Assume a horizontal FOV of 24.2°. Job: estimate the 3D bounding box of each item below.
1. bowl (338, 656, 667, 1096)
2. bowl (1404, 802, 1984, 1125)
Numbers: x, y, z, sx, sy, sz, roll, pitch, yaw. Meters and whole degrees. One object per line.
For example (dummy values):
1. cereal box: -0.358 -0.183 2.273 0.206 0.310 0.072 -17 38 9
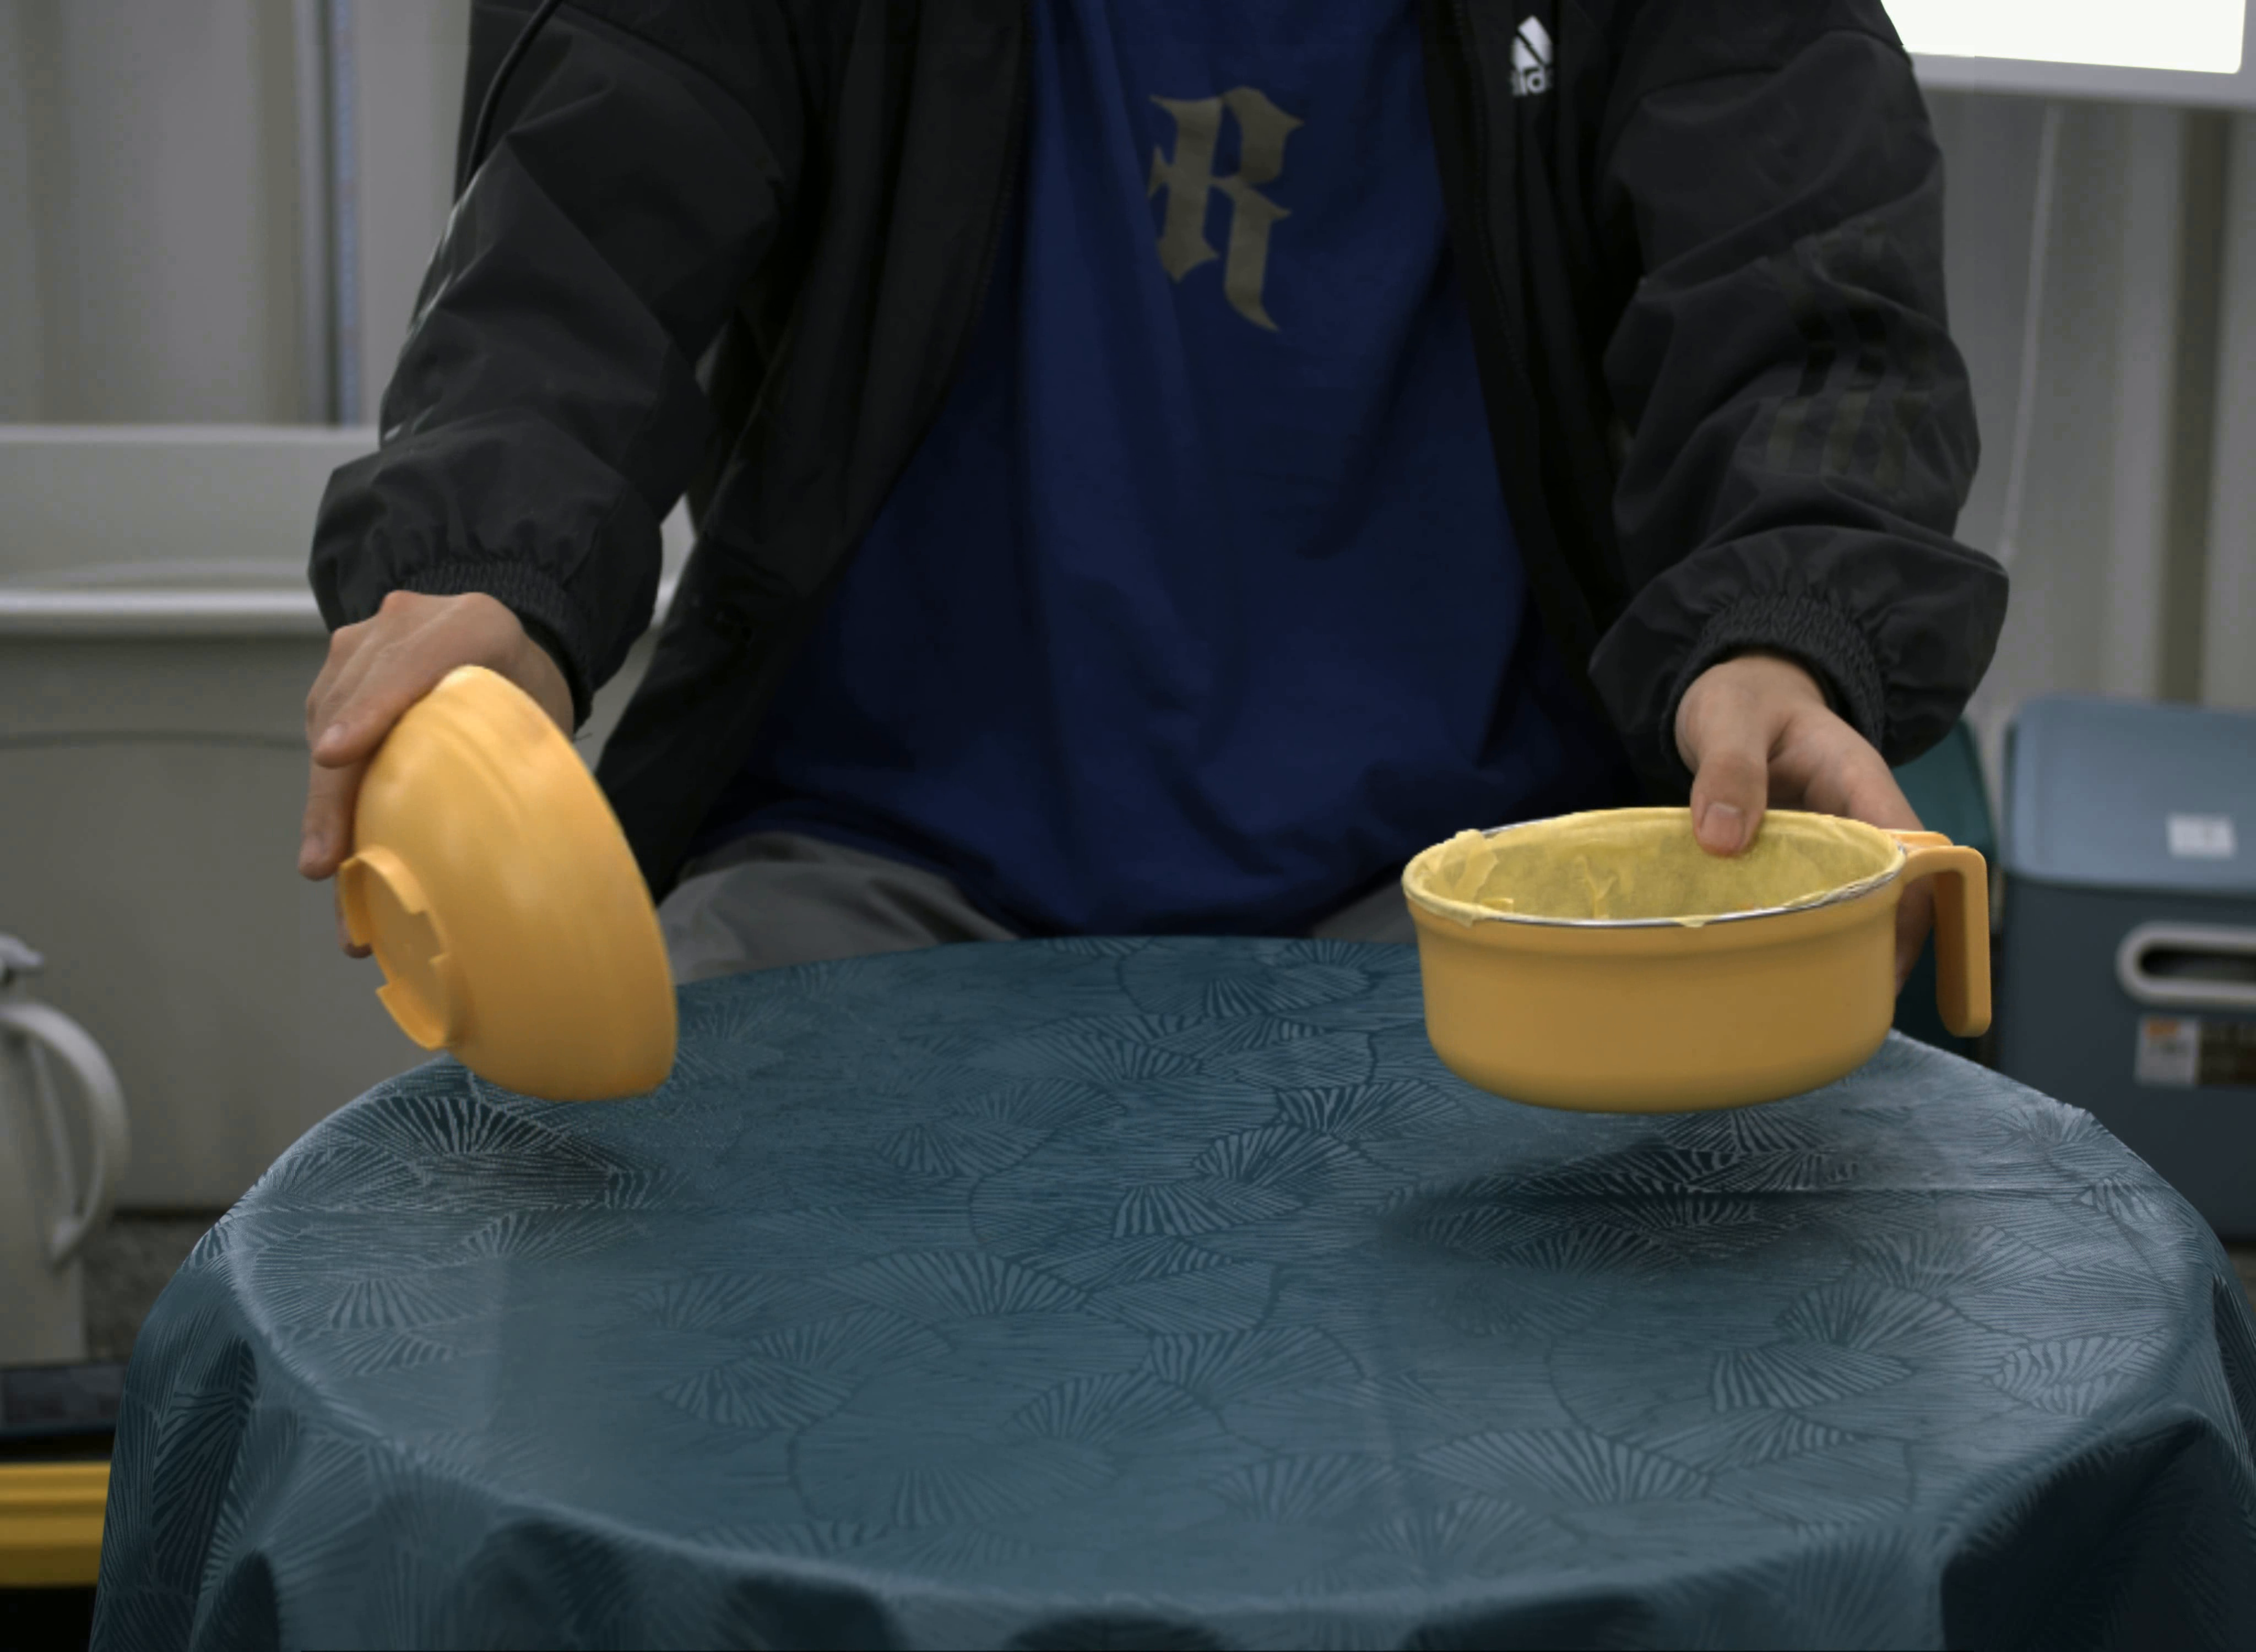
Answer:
1. bowl: -0.201 0.026 1.617 0.060 0.147 0.143 -26 26 -22
2. bowl: 0.174 0.042 1.599 0.179 0.075 0.151 -8 12 -19
